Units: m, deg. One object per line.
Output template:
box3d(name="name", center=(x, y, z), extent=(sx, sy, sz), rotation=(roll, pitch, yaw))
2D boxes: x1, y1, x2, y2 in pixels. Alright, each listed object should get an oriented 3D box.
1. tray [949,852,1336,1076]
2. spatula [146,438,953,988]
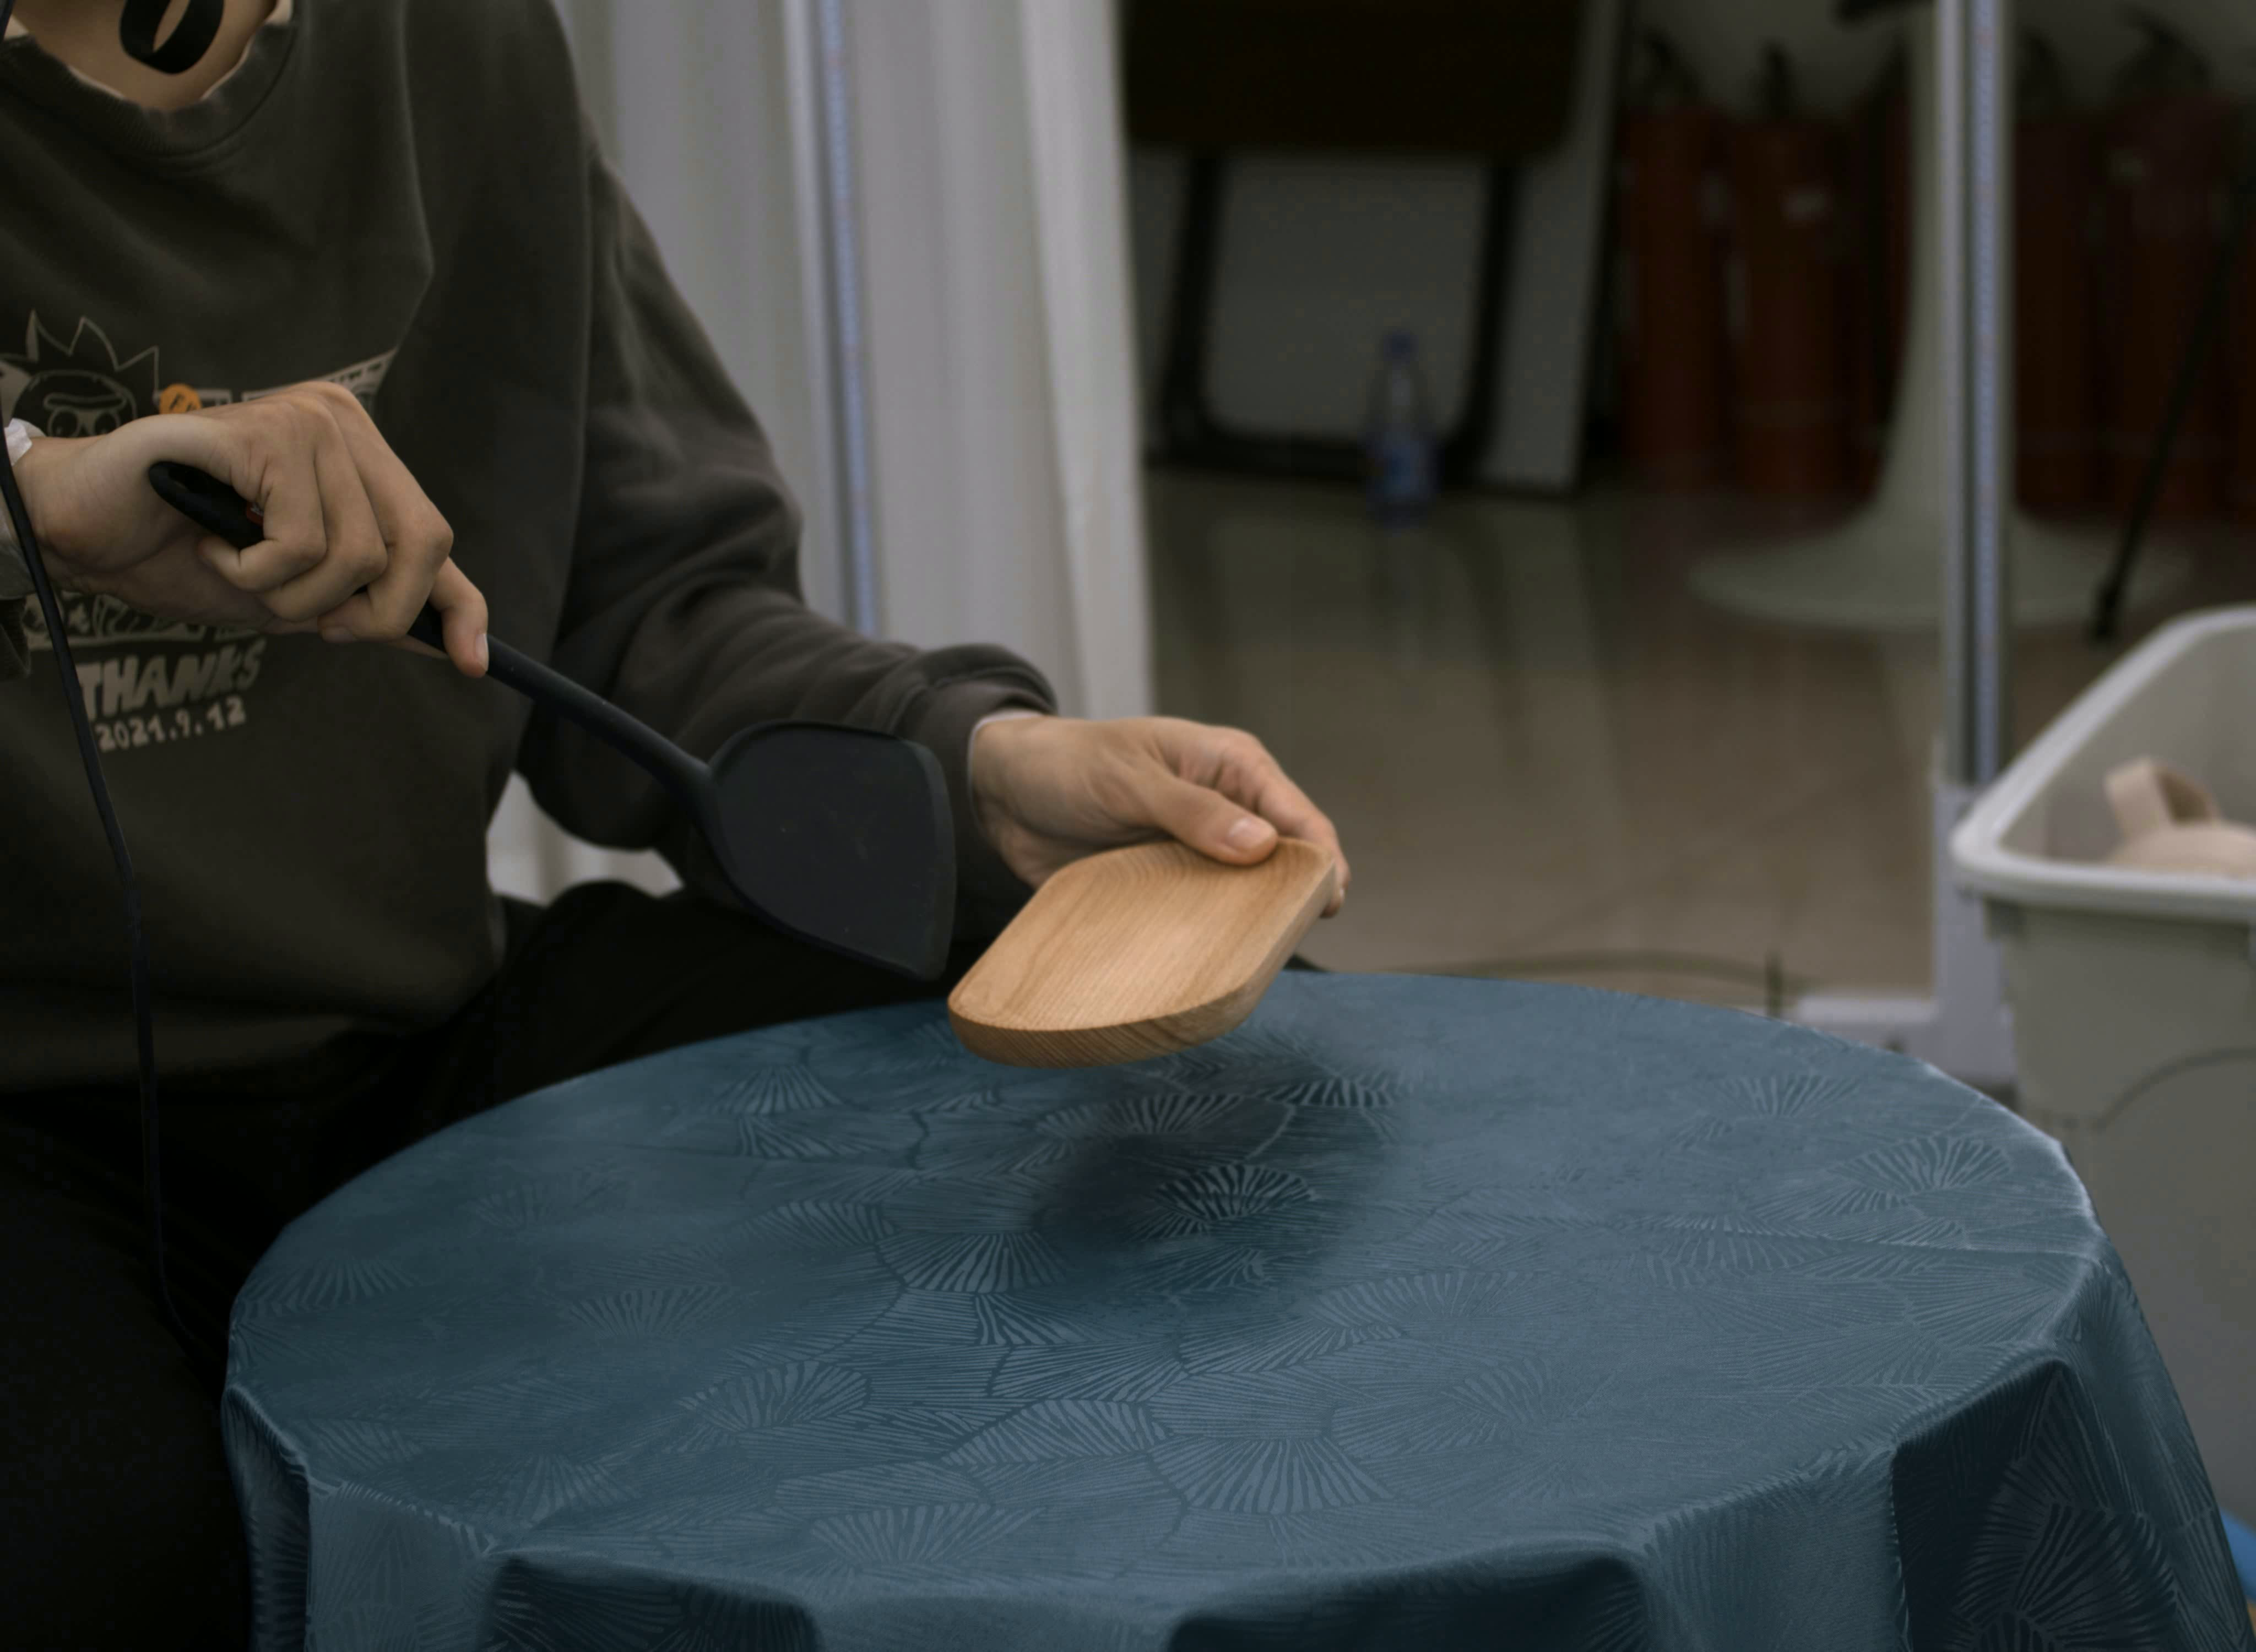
box3d(name="tray", center=(0.008, 0.044, 1.785), extent=(0.101, 0.020, 0.230), rotation=(-5, 14, 15))
box3d(name="spatula", center=(-0.178, -0.046, 1.720), extent=(0.040, 0.101, 0.321), rotation=(-30, -46, 29))
